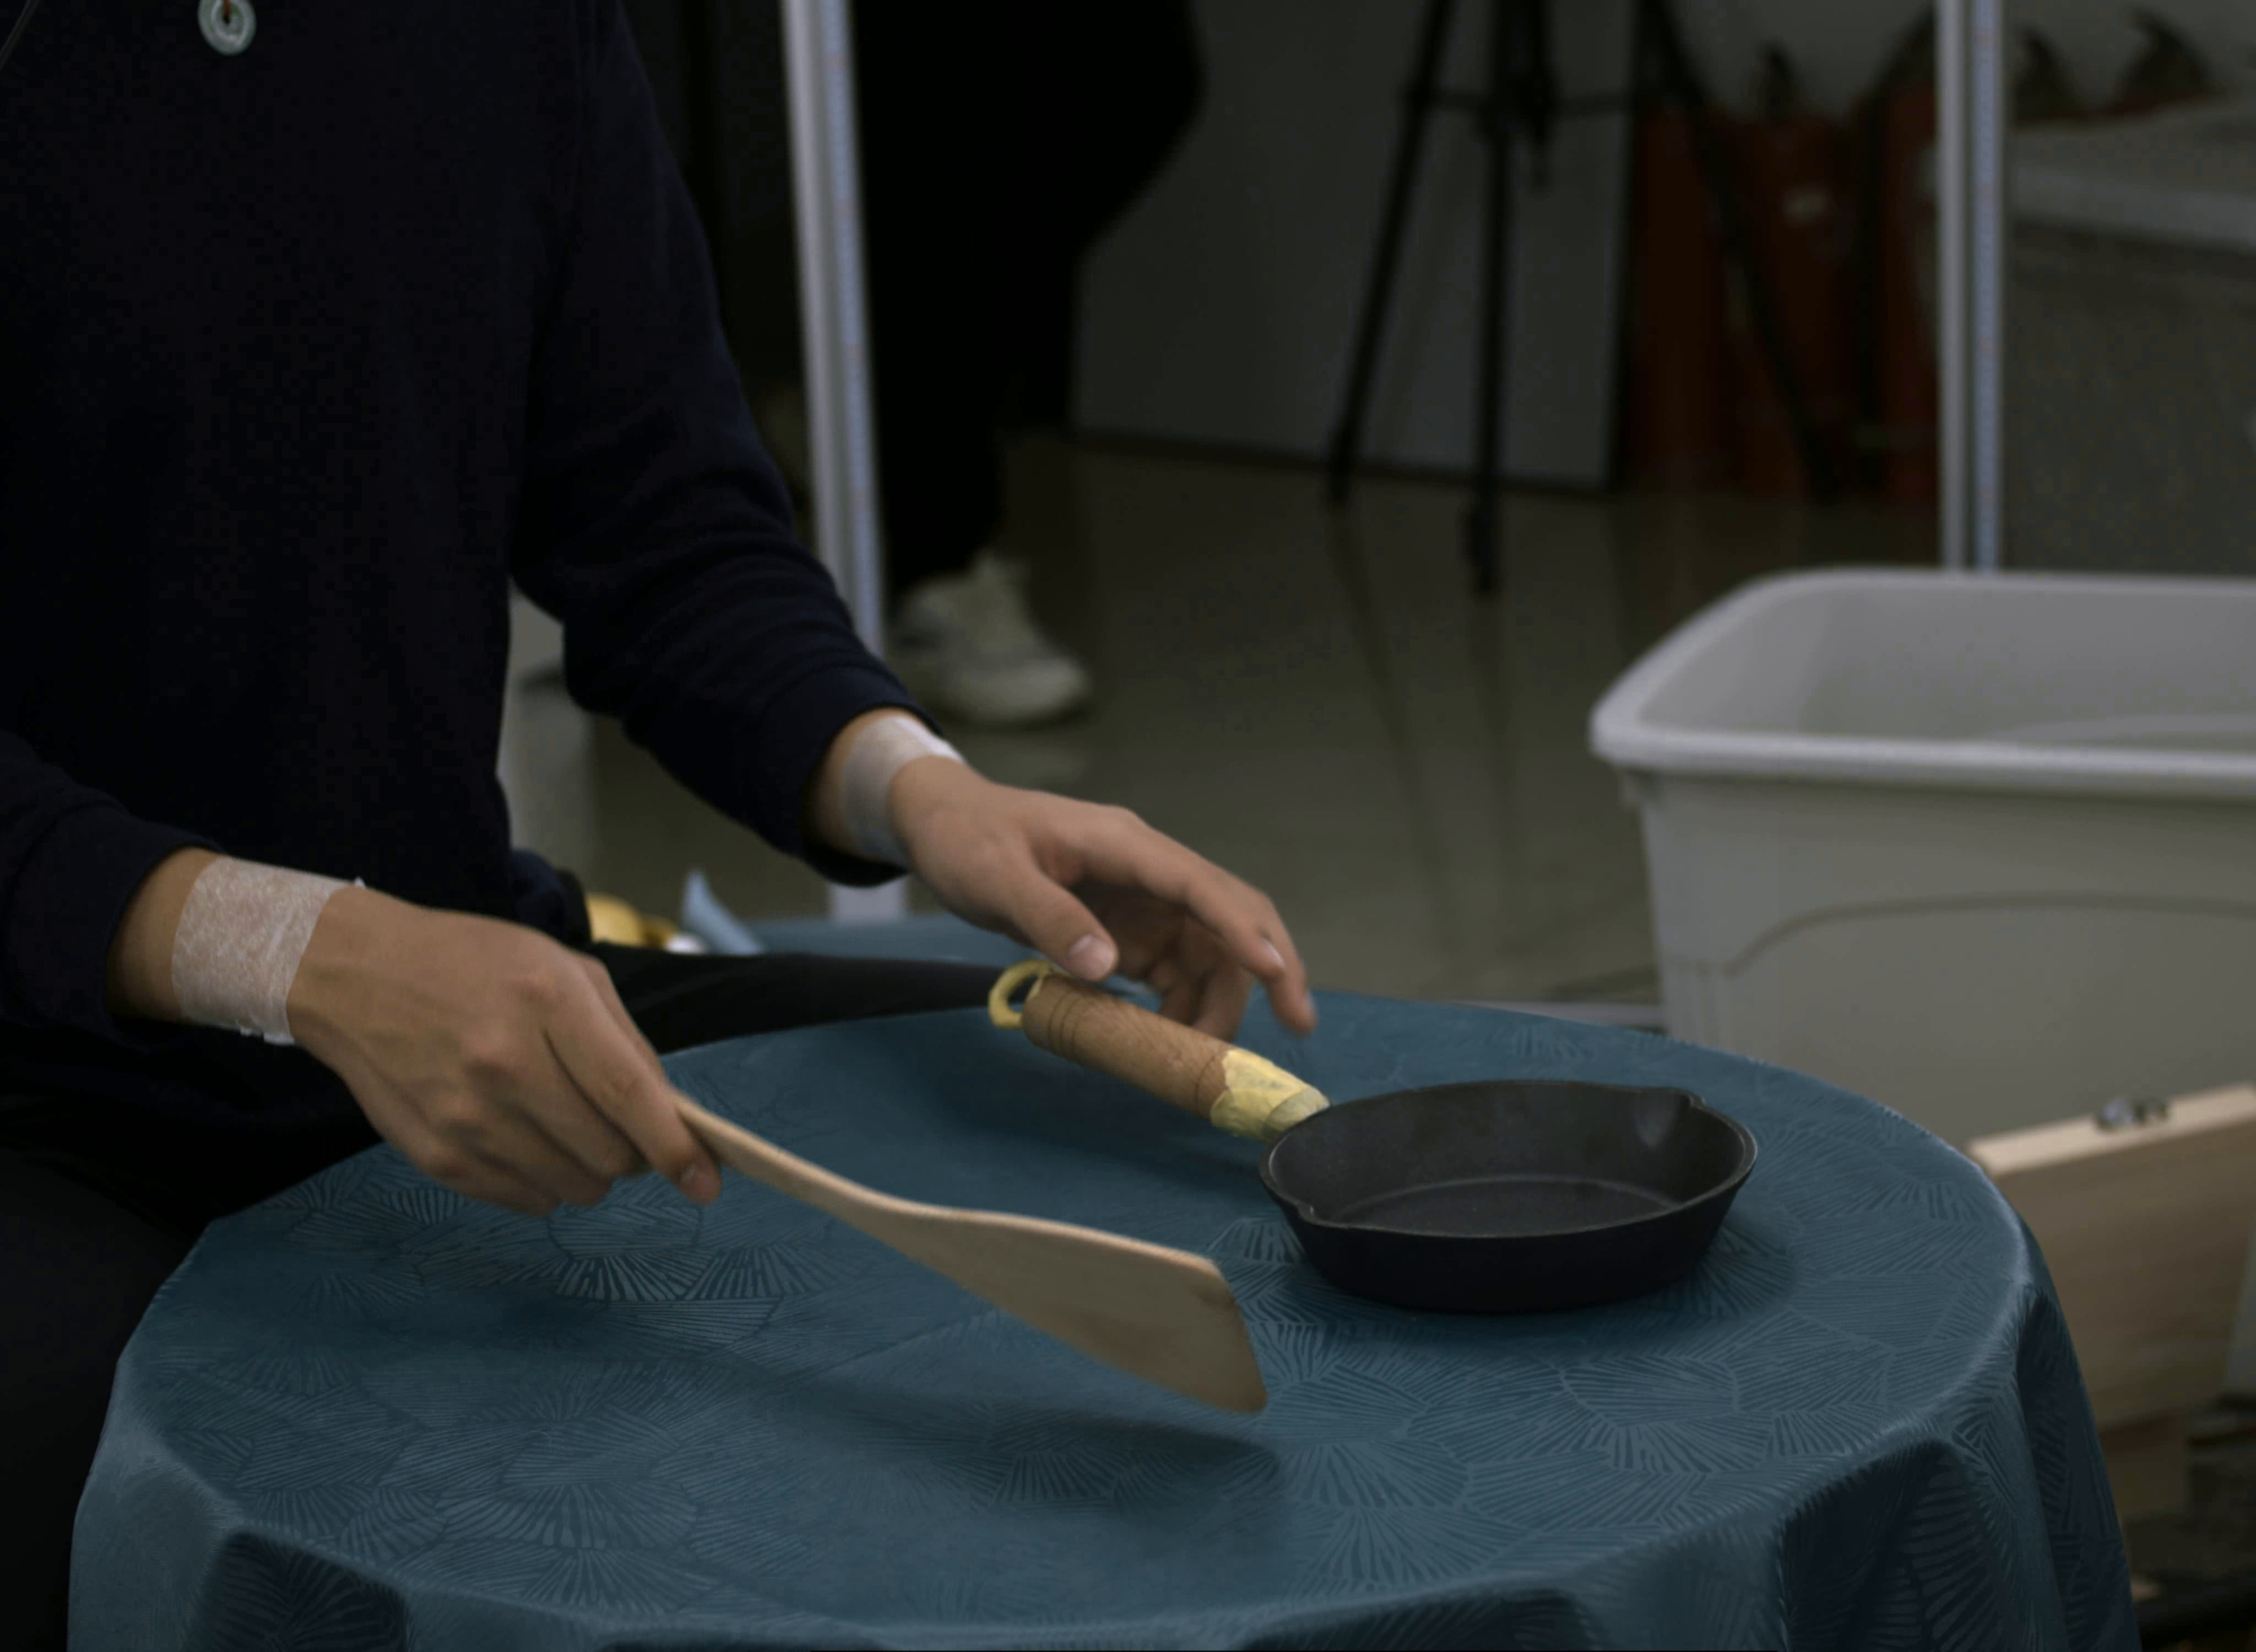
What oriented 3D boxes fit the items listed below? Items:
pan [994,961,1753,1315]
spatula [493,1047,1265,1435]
[{"bbox_3d":[0.065,0.096,1.746,0.165,0.050,0.327,-15,19,-37],"label":"pan"},{"bbox_3d":[-0.081,0.114,1.610,0.331,0.080,0.016,18,55,43],"label":"spatula"}]
